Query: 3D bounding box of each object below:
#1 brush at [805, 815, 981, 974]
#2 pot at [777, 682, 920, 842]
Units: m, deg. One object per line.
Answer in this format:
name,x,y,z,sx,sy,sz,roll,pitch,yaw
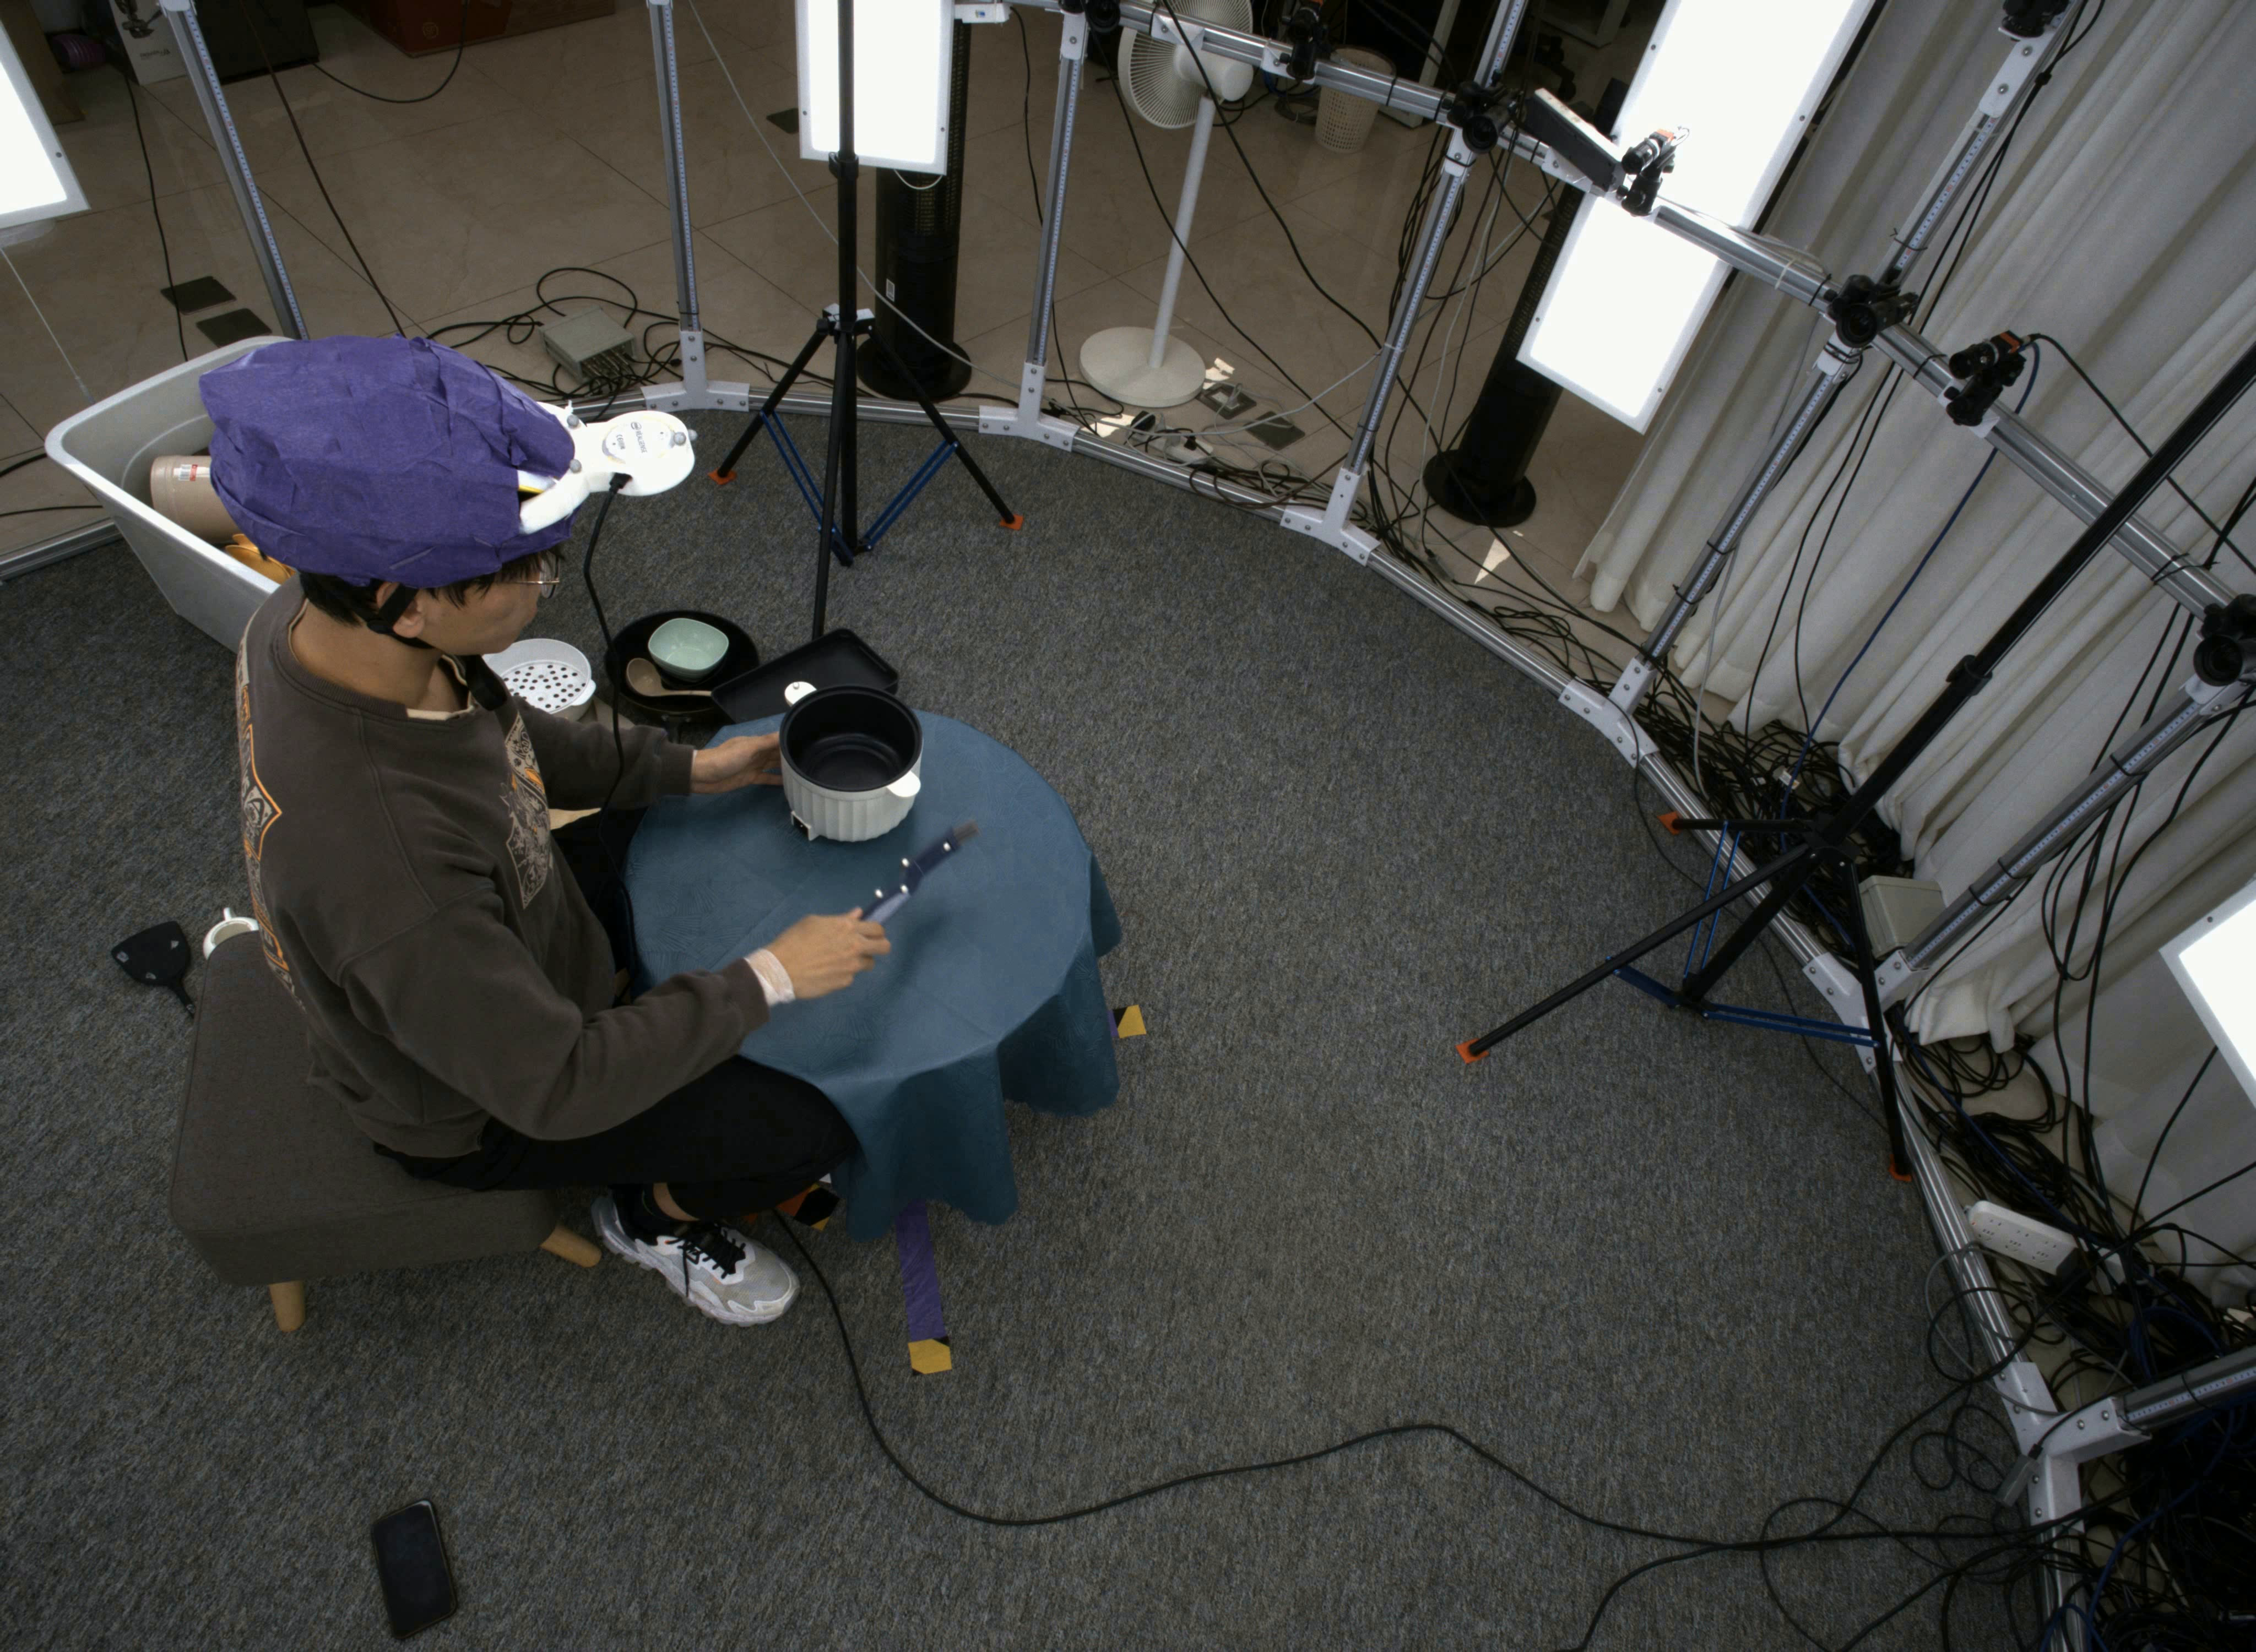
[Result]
brush,-0.278,0.074,1.547,0.034,0.093,0.272,60,39,-21
pot,-0.364,-0.081,1.722,0.235,0.145,0.190,40,60,15
